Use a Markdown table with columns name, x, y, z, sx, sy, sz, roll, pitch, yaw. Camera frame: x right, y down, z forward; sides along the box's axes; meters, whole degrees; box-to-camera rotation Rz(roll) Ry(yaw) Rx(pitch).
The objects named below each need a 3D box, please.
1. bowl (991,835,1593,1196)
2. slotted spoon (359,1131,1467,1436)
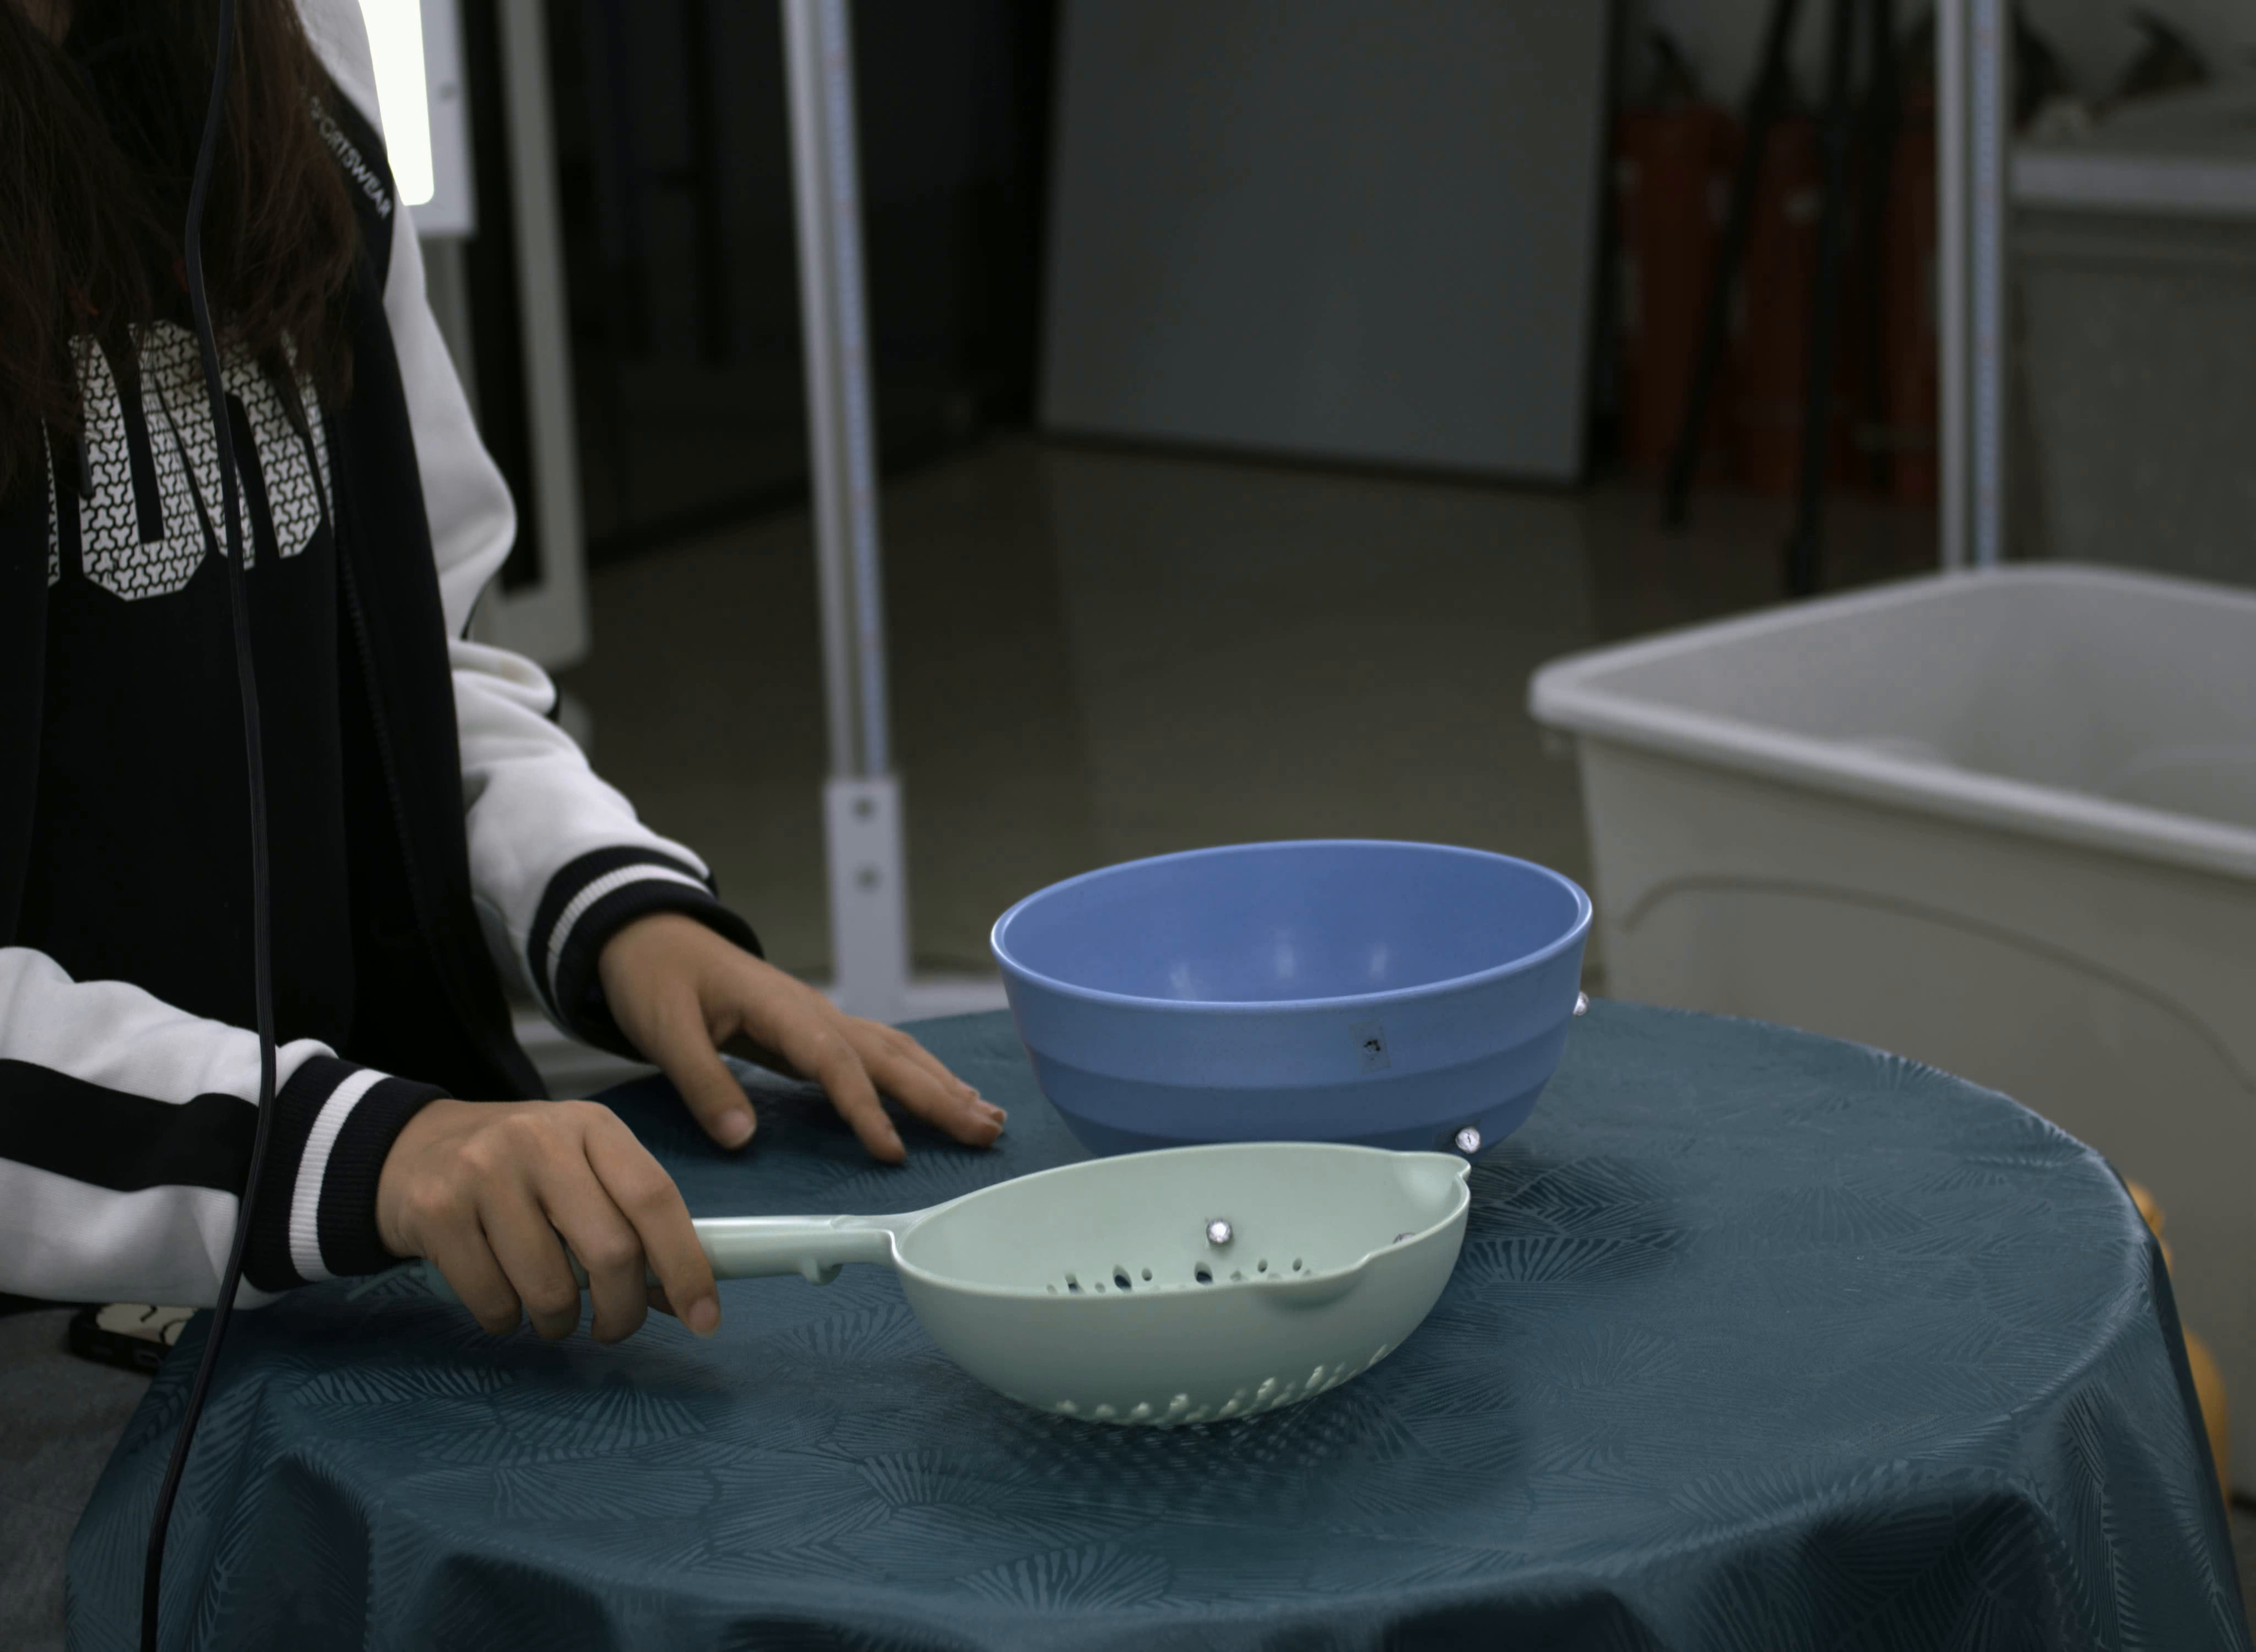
| name | x | y | z | sx | sy | sz | roll | pitch | yaw |
| --- | --- | --- | --- | --- | --- | --- | --- | --- | --- |
| bowl | 0.055 | 0.074 | 1.746 | 0.194 | 0.096 | 0.197 | -4 | 14 | 0 |
| slotted spoon | -0.073 | 0.132 | 1.601 | 0.359 | 0.076 | 0.167 | 4 | 13 | 22 |
